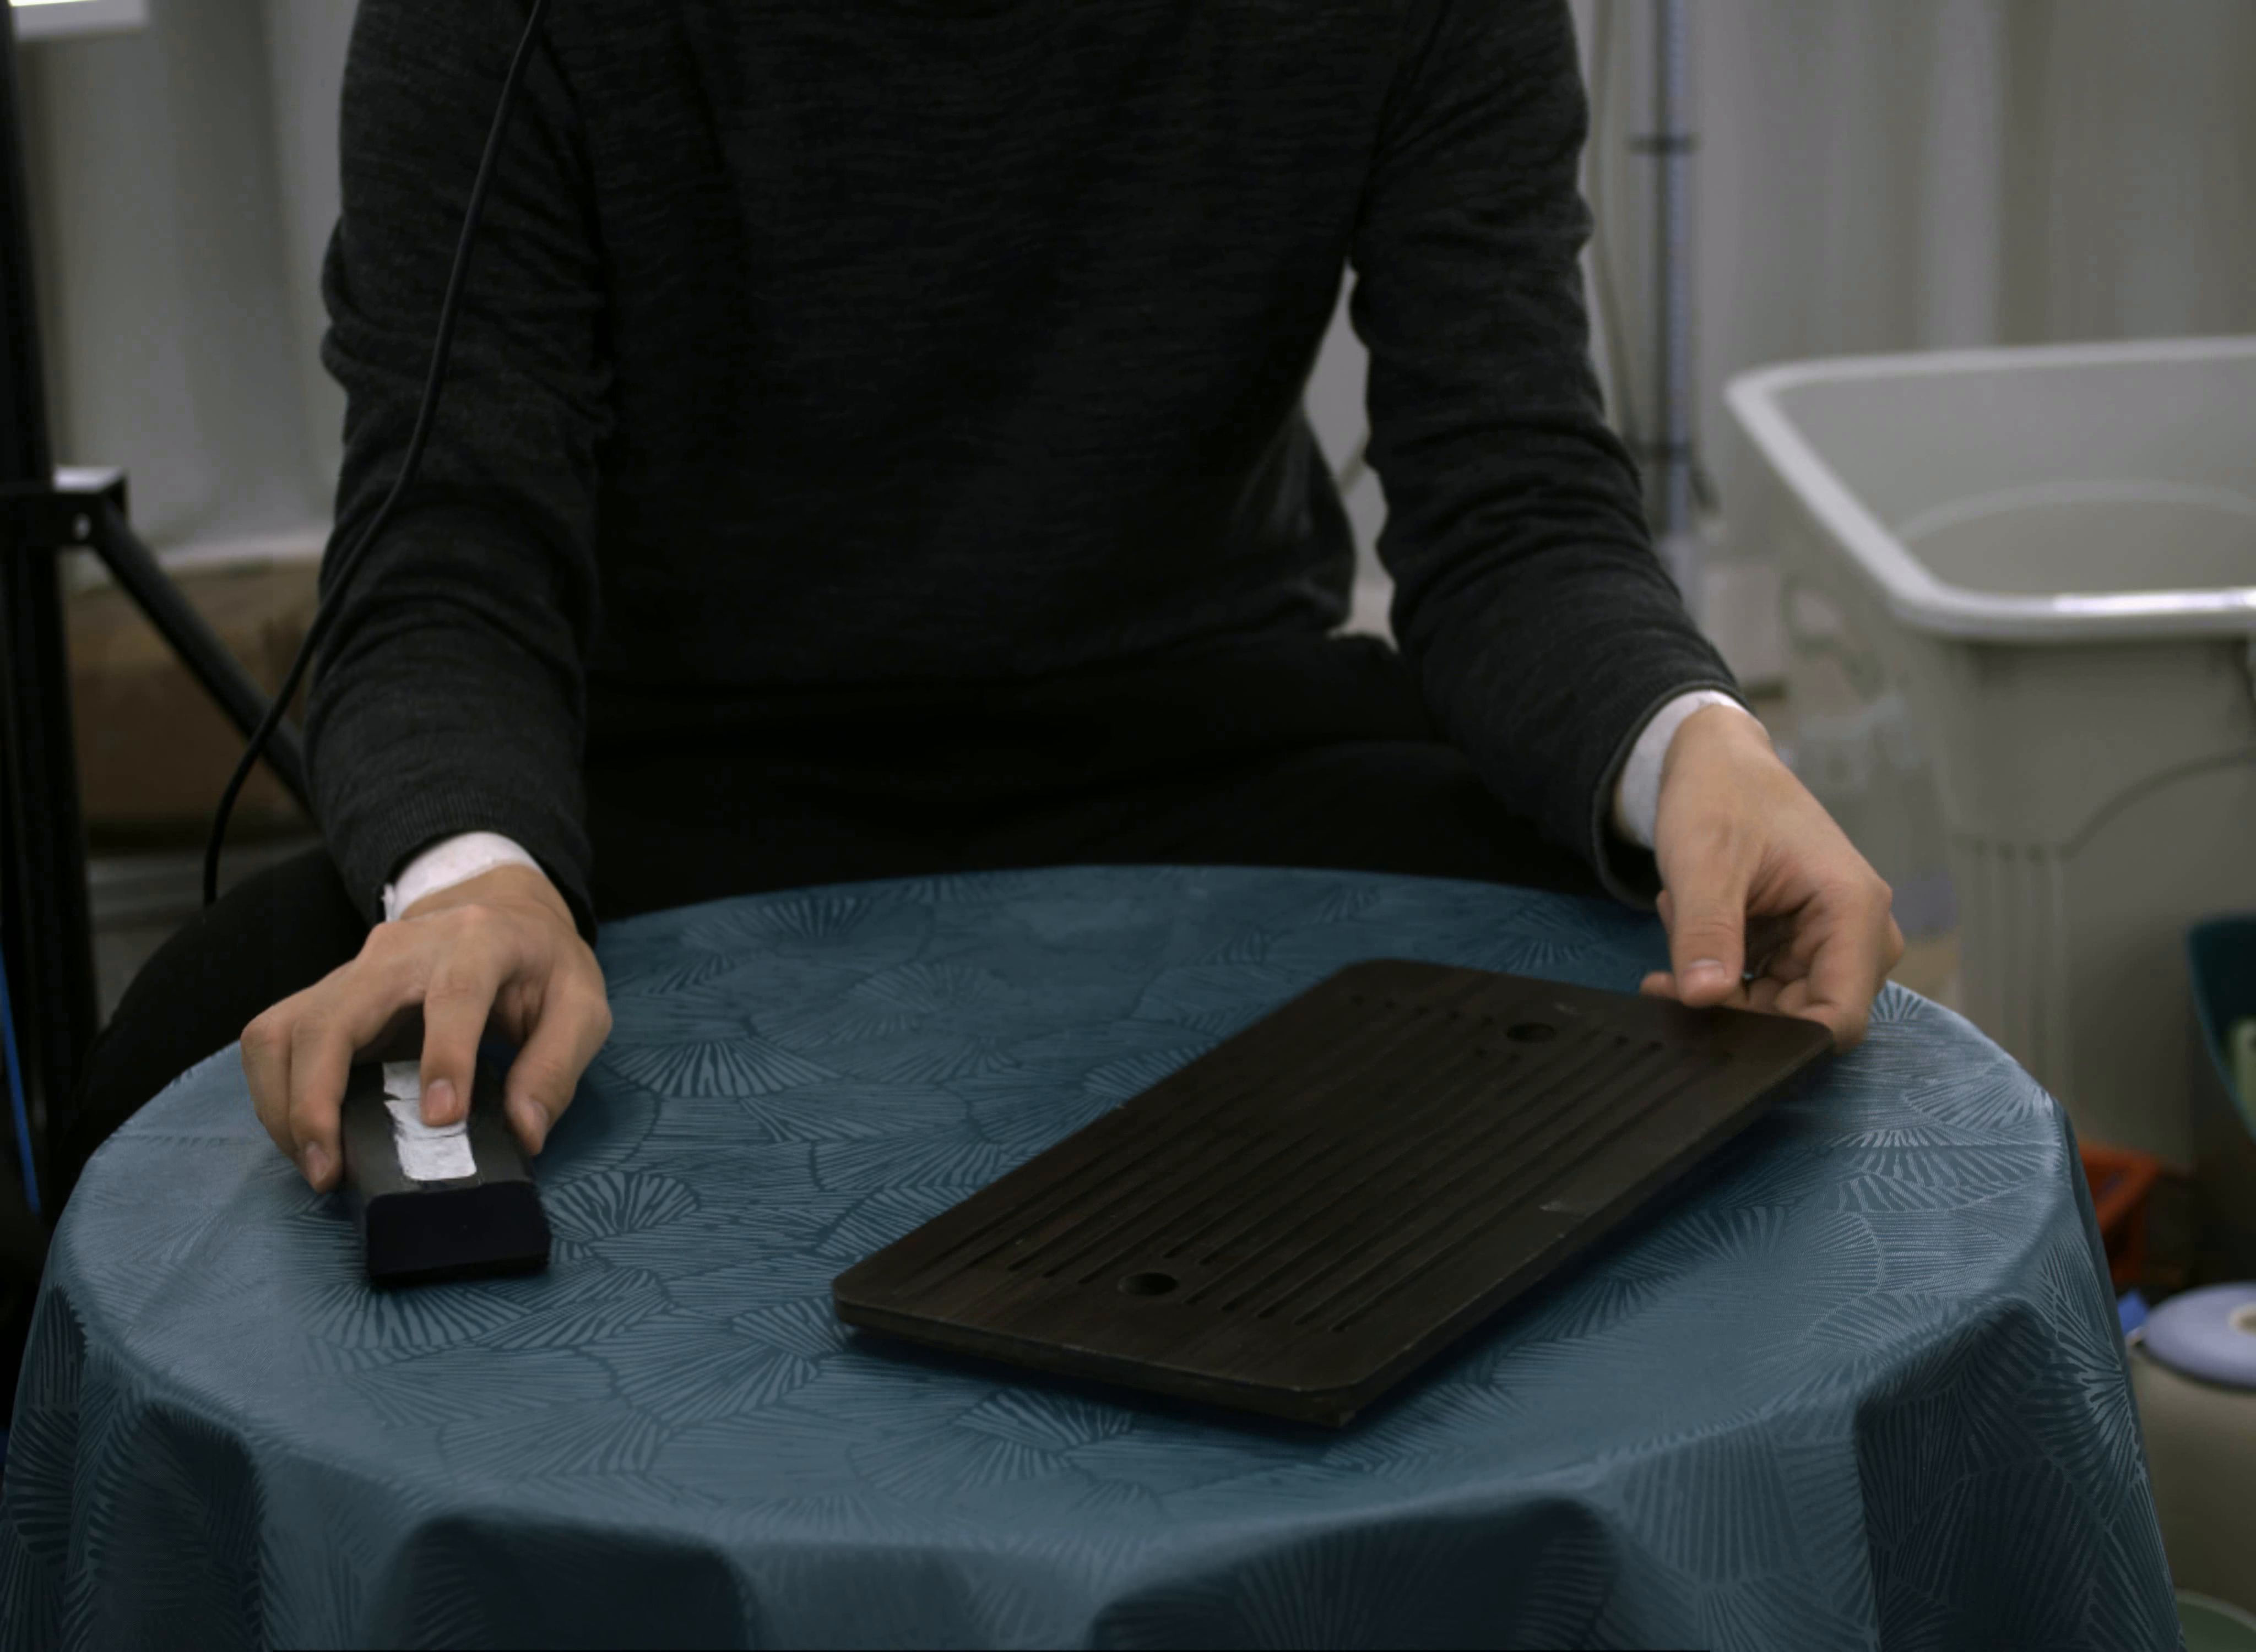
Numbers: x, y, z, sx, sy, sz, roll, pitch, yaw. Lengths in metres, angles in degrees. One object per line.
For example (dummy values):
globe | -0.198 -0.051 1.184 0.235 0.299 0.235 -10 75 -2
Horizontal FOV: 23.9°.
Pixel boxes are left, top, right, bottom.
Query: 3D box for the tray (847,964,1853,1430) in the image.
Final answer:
tray | 0.070 0.102 1.517 0.173 0.018 0.300 7 20 33

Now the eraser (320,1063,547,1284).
eraser | -0.204 0.101 1.564 0.053 0.030 0.127 -4 15 -13
